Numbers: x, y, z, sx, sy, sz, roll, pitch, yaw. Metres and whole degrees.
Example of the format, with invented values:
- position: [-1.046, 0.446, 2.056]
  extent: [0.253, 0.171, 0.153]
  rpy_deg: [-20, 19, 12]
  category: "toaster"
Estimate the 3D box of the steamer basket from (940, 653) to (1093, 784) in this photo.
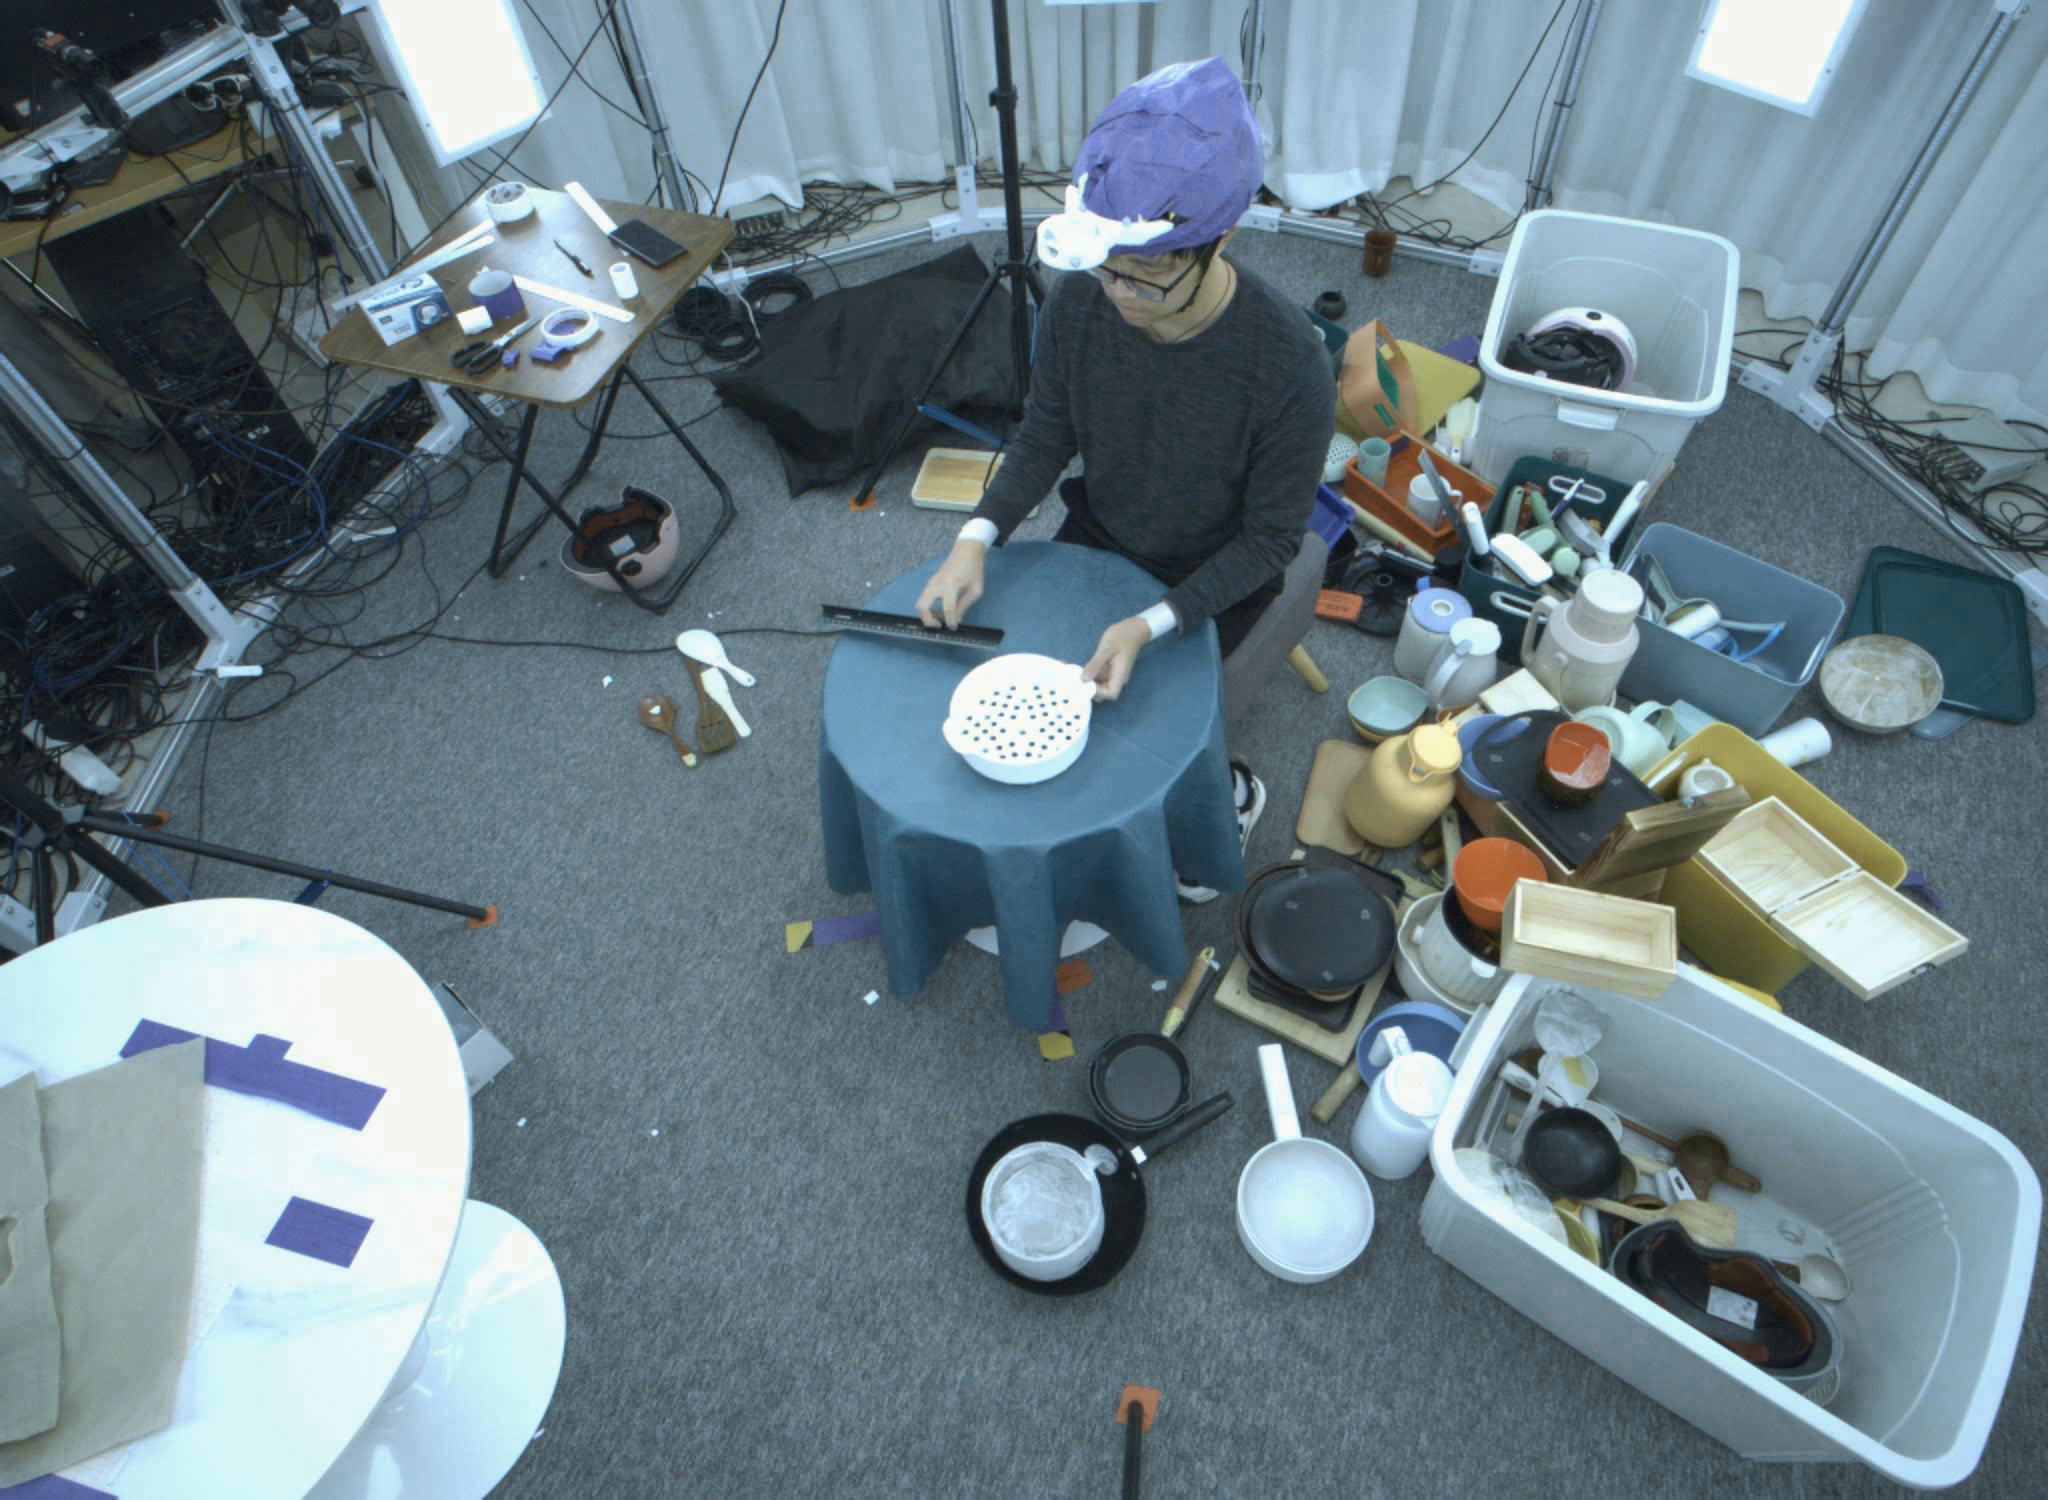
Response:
- position: [-0.008, -0.044, 1.777]
  extent: [0.232, 0.070, 0.198]
  rpy_deg: [-26, 58, -13]
  category: "steamer basket"

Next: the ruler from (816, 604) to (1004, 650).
- position: [-0.182, -0.193, 1.882]
  extent: [0.308, 0.017, 0.039]
  rpy_deg: [10, 54, 17]
  category: "ruler"
